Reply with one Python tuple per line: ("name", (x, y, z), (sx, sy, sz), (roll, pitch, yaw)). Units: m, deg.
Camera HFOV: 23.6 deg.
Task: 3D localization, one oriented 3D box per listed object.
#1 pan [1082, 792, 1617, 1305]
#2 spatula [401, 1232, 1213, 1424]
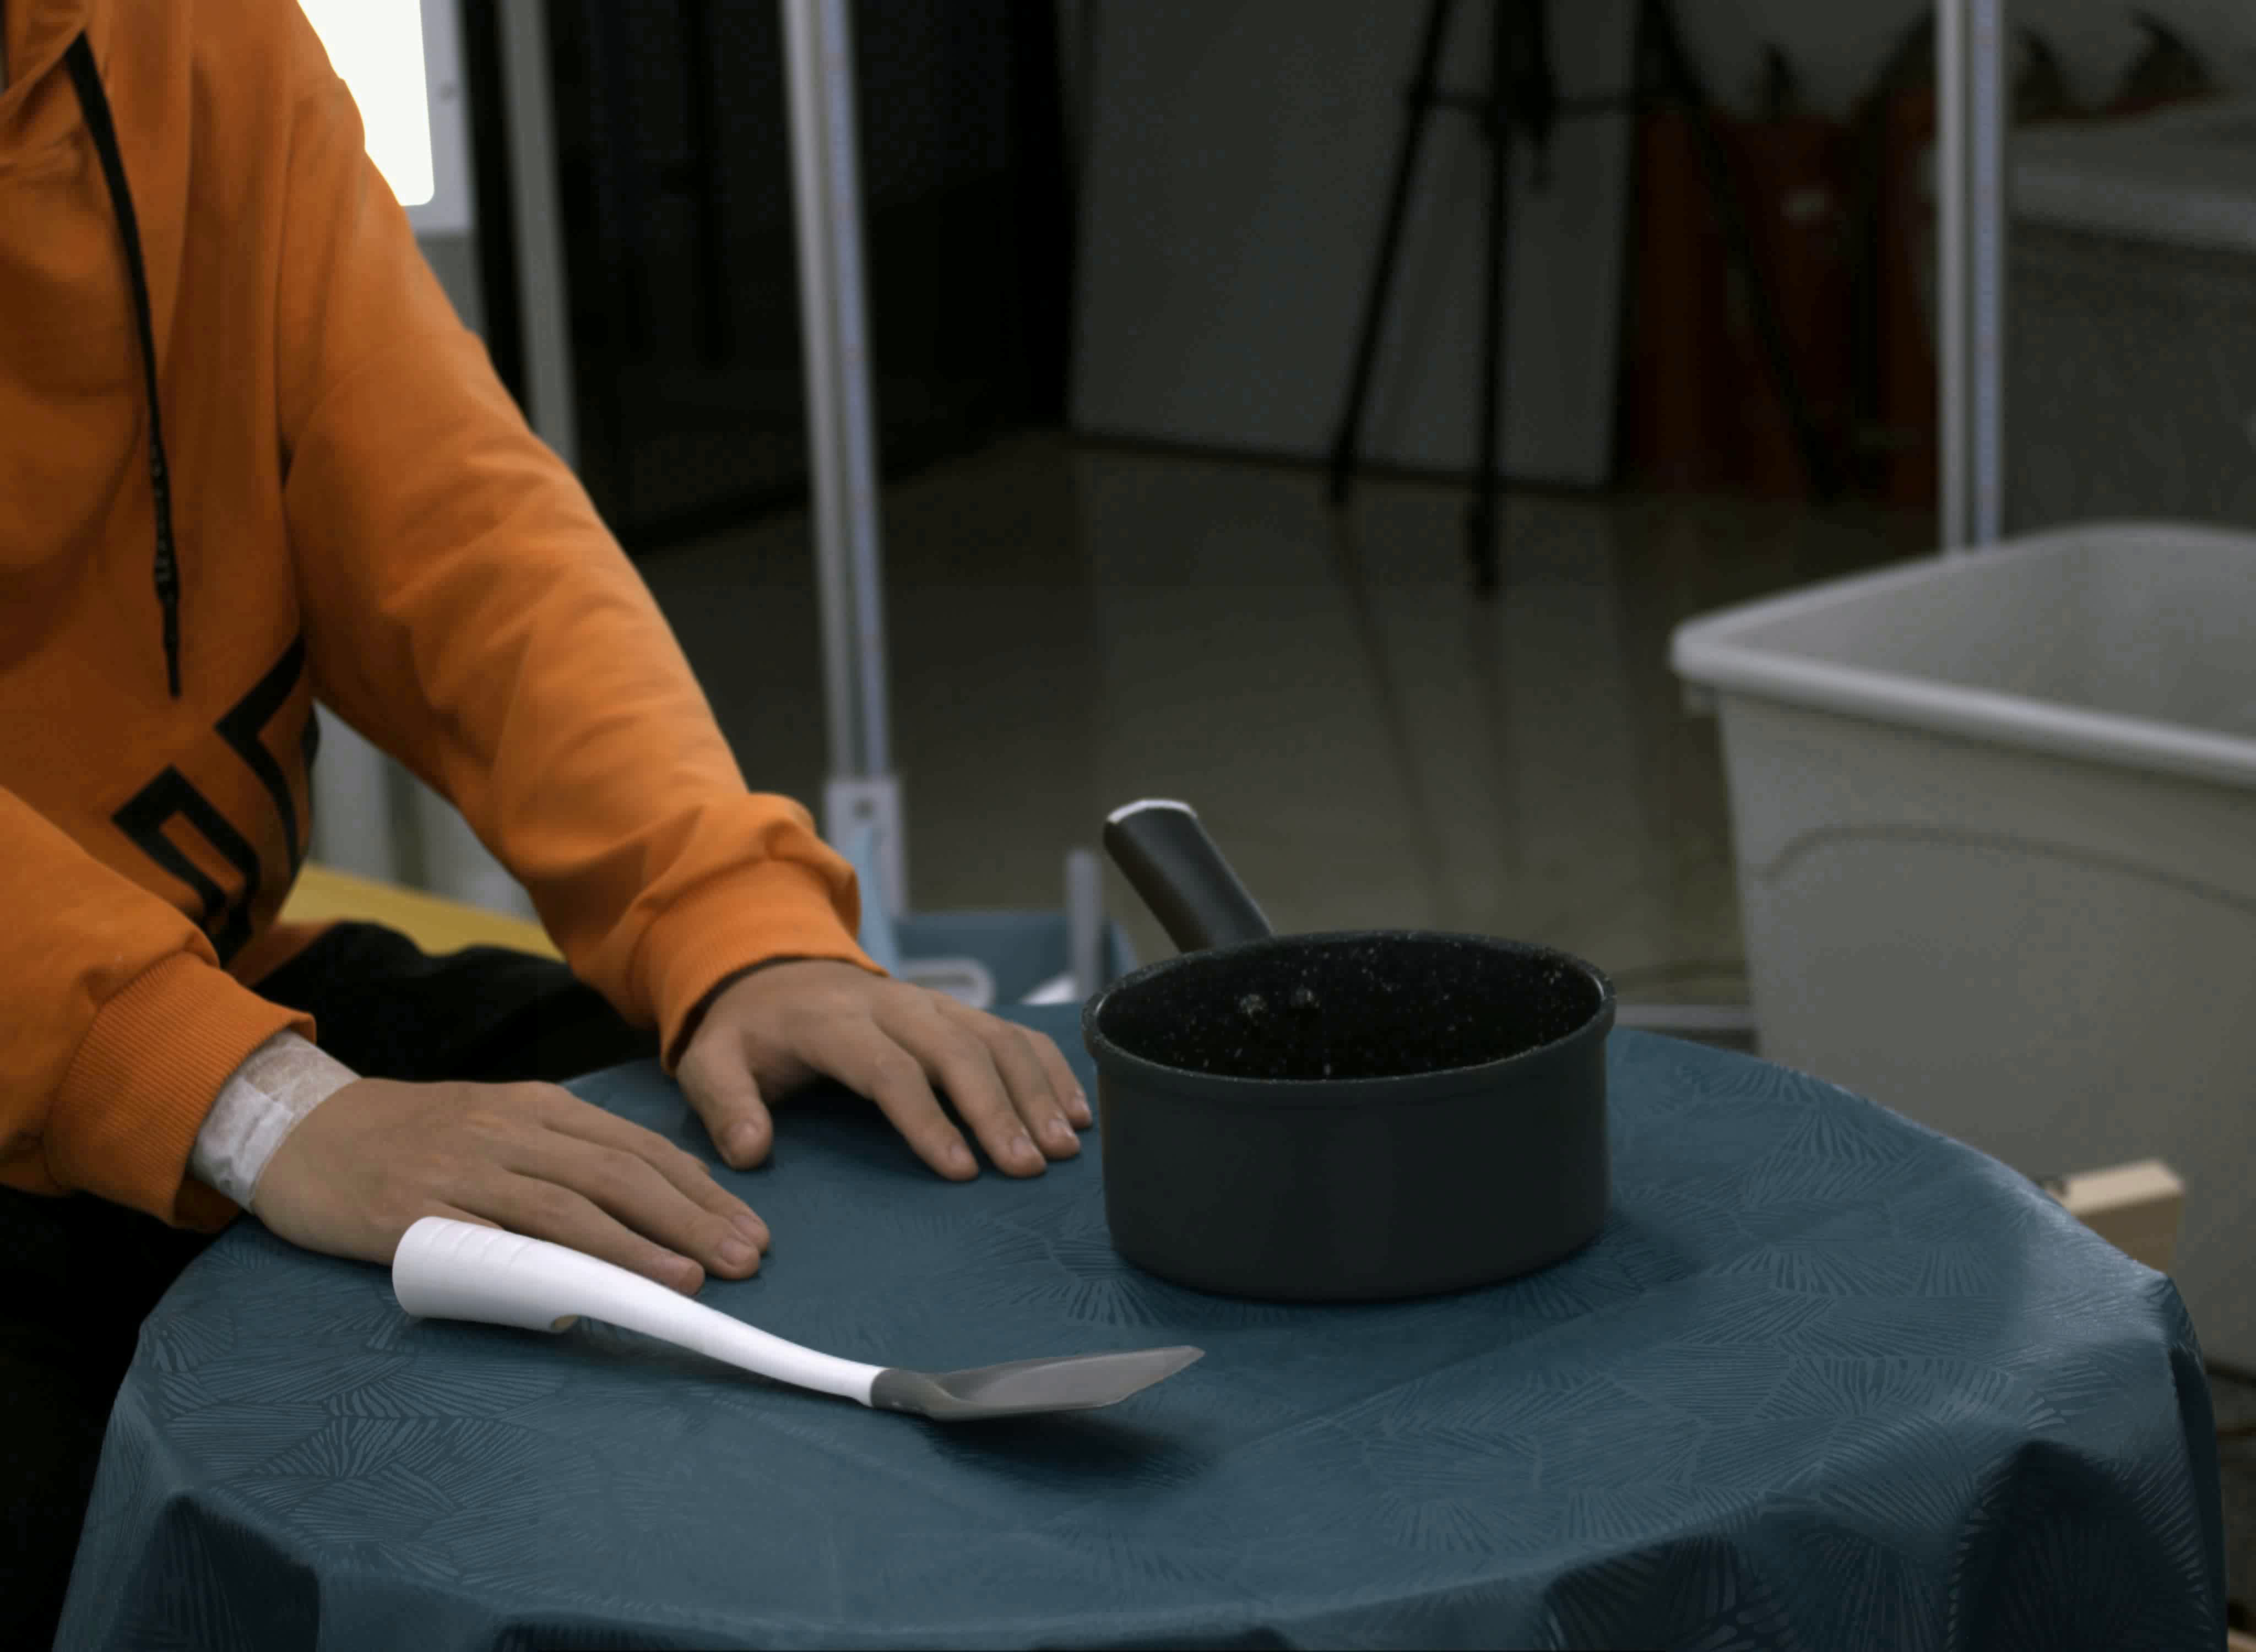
("pan", (0.054, 0.070, 1.785), (0.169, 0.087, 0.331), (-6, 15, -11))
("spatula", (-0.101, 0.153, 1.606), (0.289, 0.032, 0.057), (5, 13, 36))
